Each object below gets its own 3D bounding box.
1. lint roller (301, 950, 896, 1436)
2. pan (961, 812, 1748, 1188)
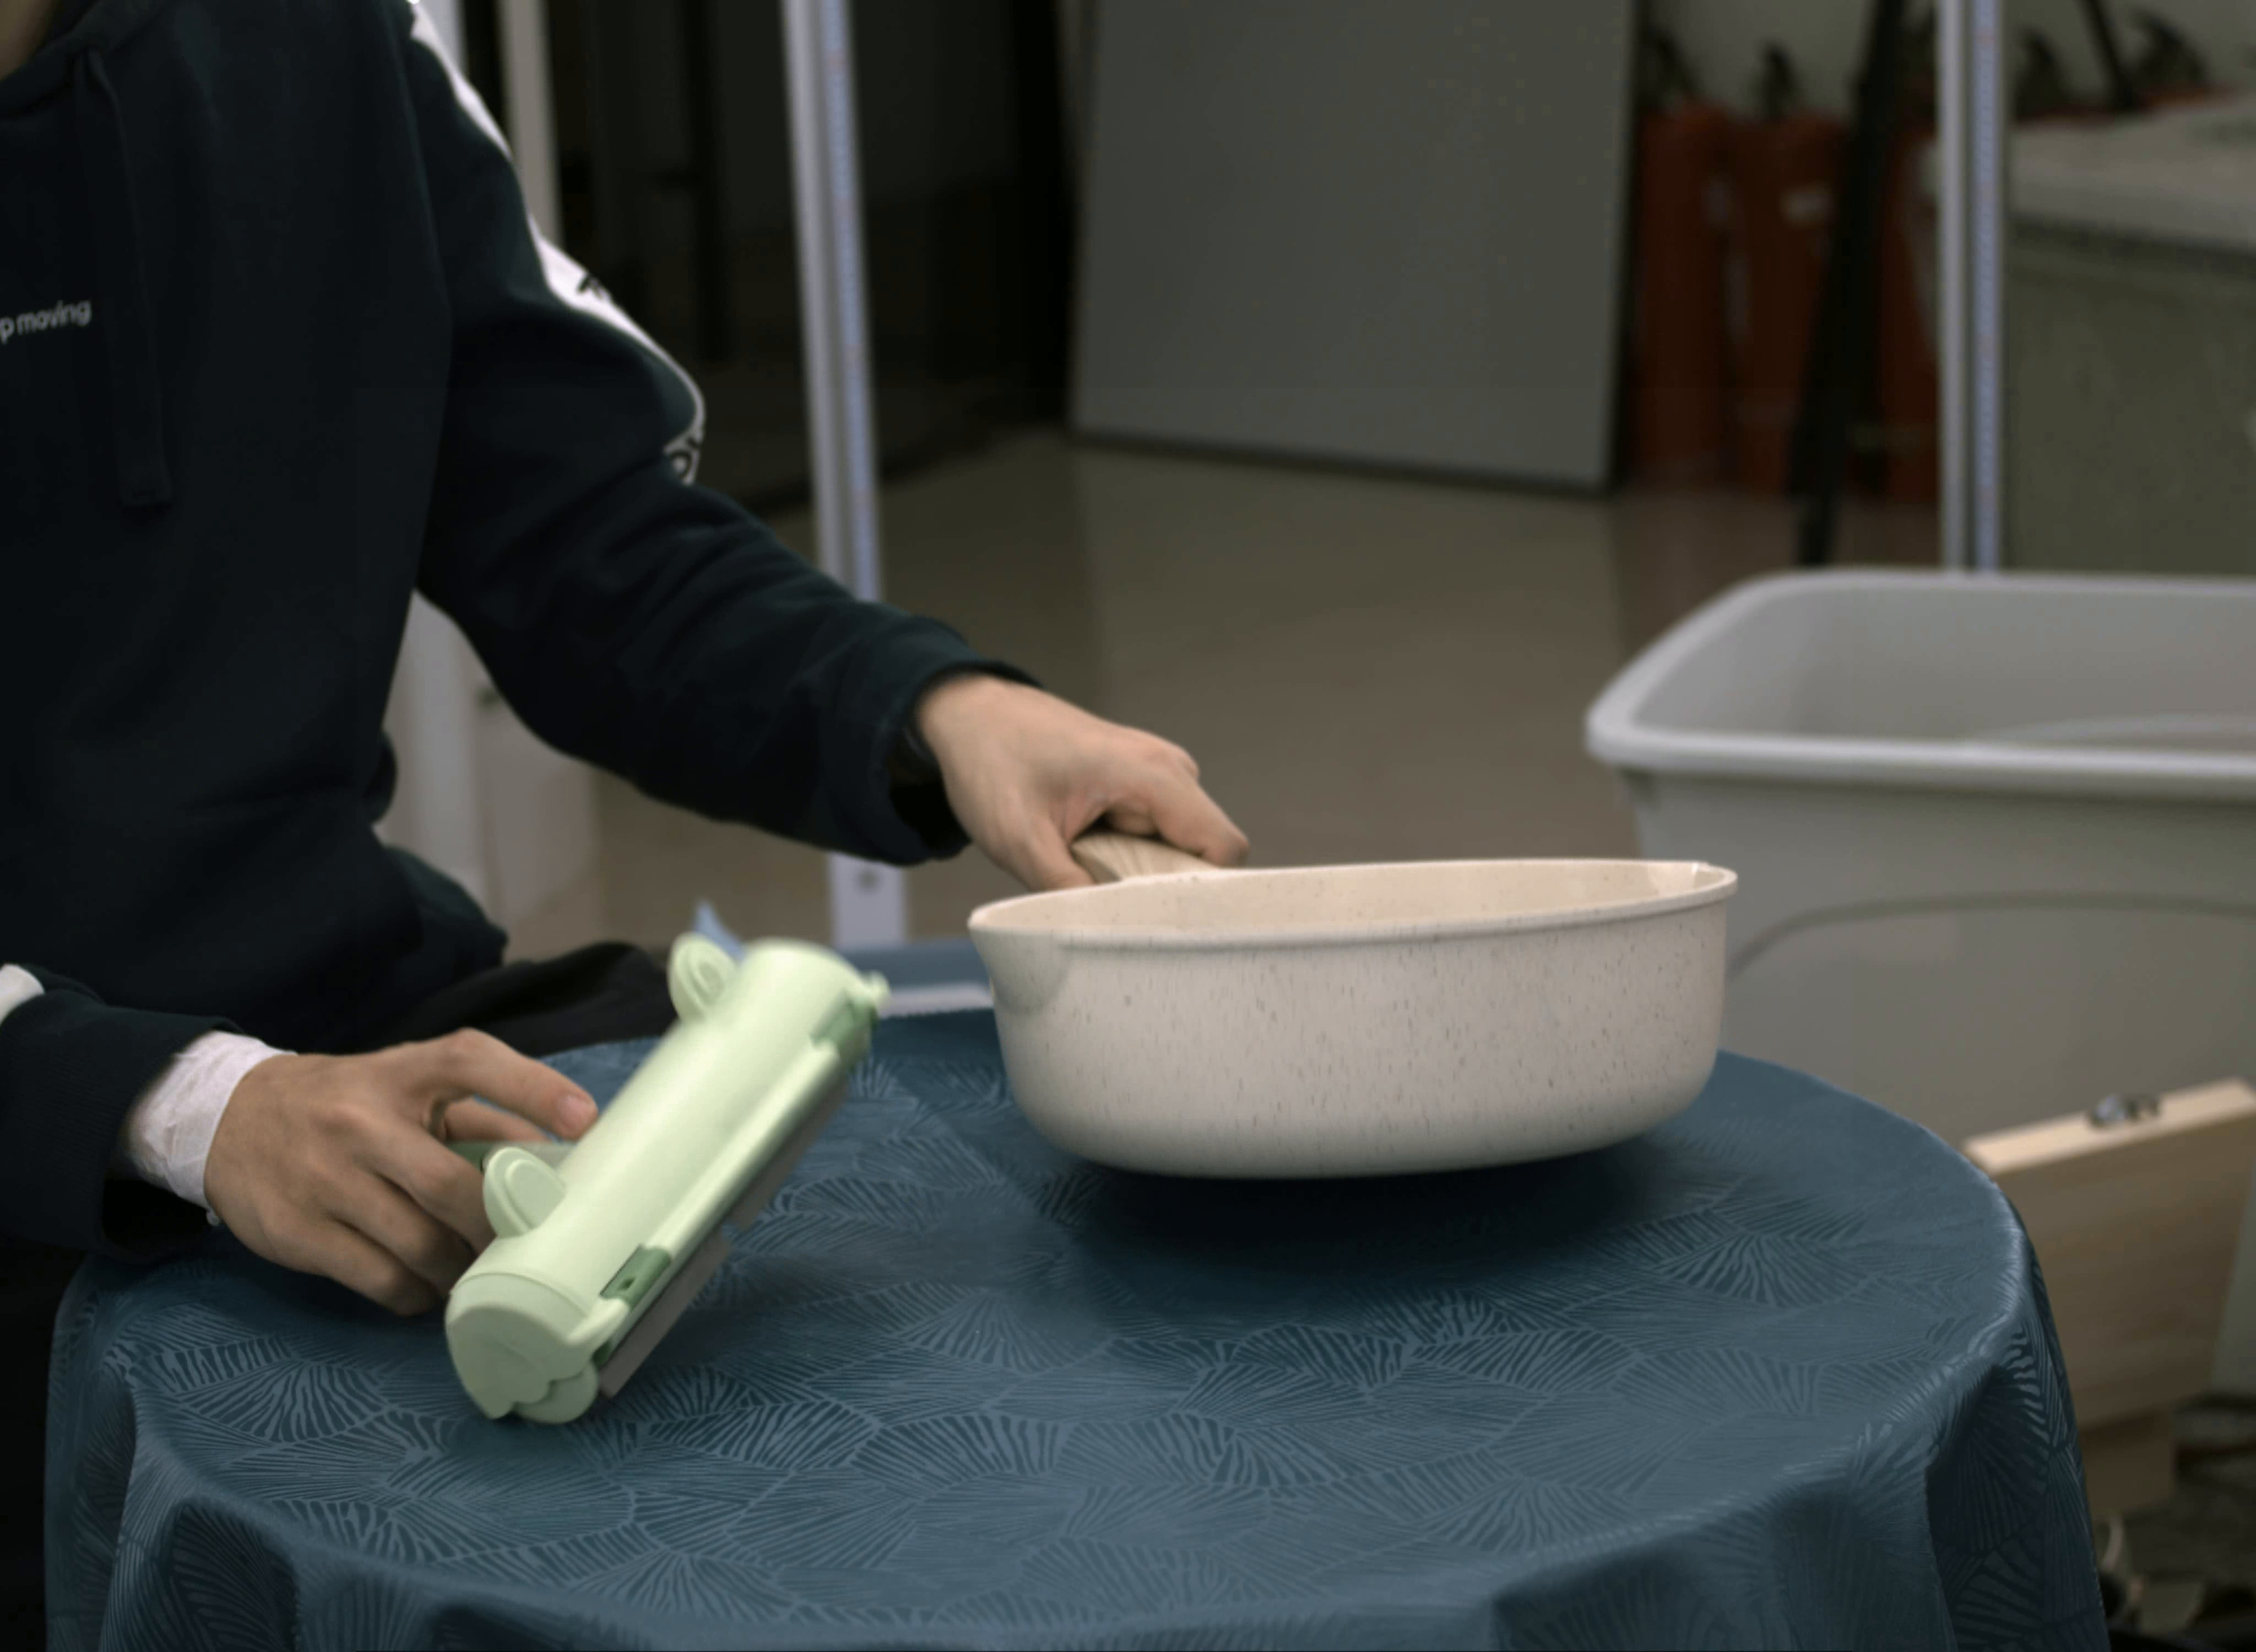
[{"bbox_3d":[-0.190,0.103,1.675,0.184,0.082,0.197,2,31,30],"label":"lint roller"},{"bbox_3d":[0.043,0.052,1.835,0.257,0.103,0.439,-7,5,-23],"label":"pan"}]
